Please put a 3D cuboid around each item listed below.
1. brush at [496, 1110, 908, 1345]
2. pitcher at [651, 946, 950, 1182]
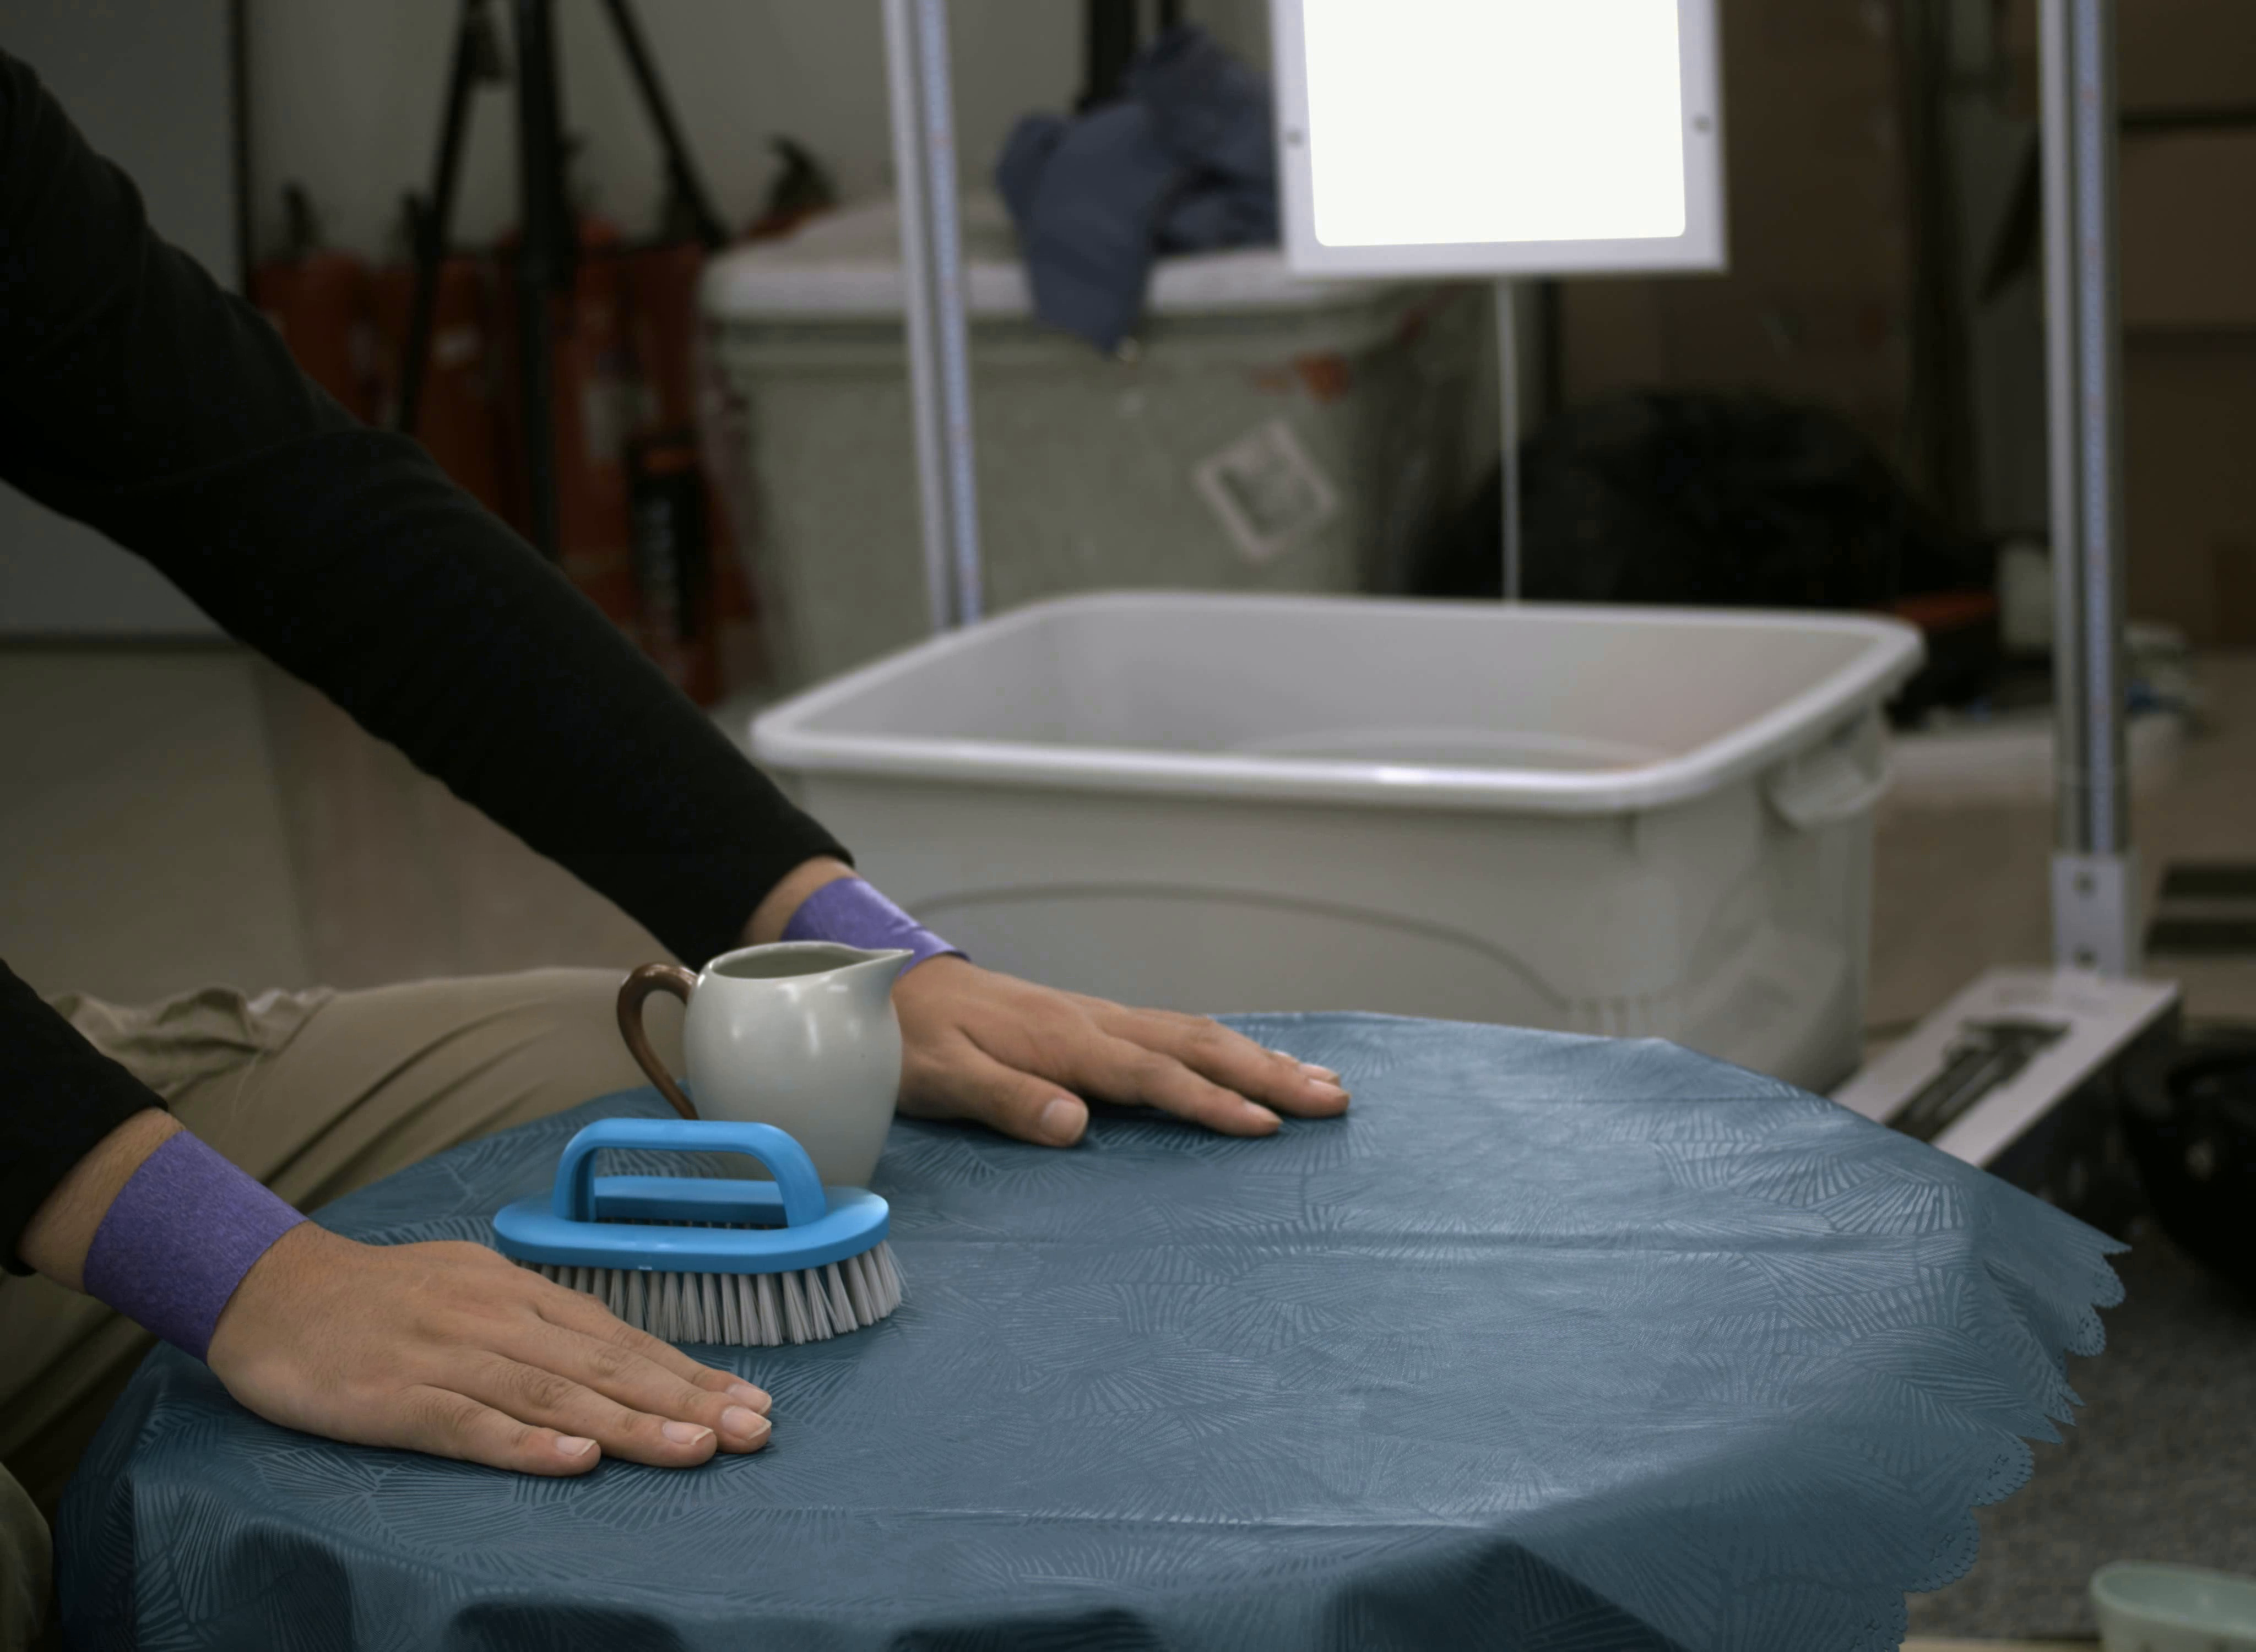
[{"bbox_3d":[-0.144,0.125,1.815,0.144,0.064,0.083,0,19,25],"label":"brush"},{"bbox_3d":[-0.116,0.085,1.925,0.121,0.088,0.074,7,12,28],"label":"pitcher"}]
